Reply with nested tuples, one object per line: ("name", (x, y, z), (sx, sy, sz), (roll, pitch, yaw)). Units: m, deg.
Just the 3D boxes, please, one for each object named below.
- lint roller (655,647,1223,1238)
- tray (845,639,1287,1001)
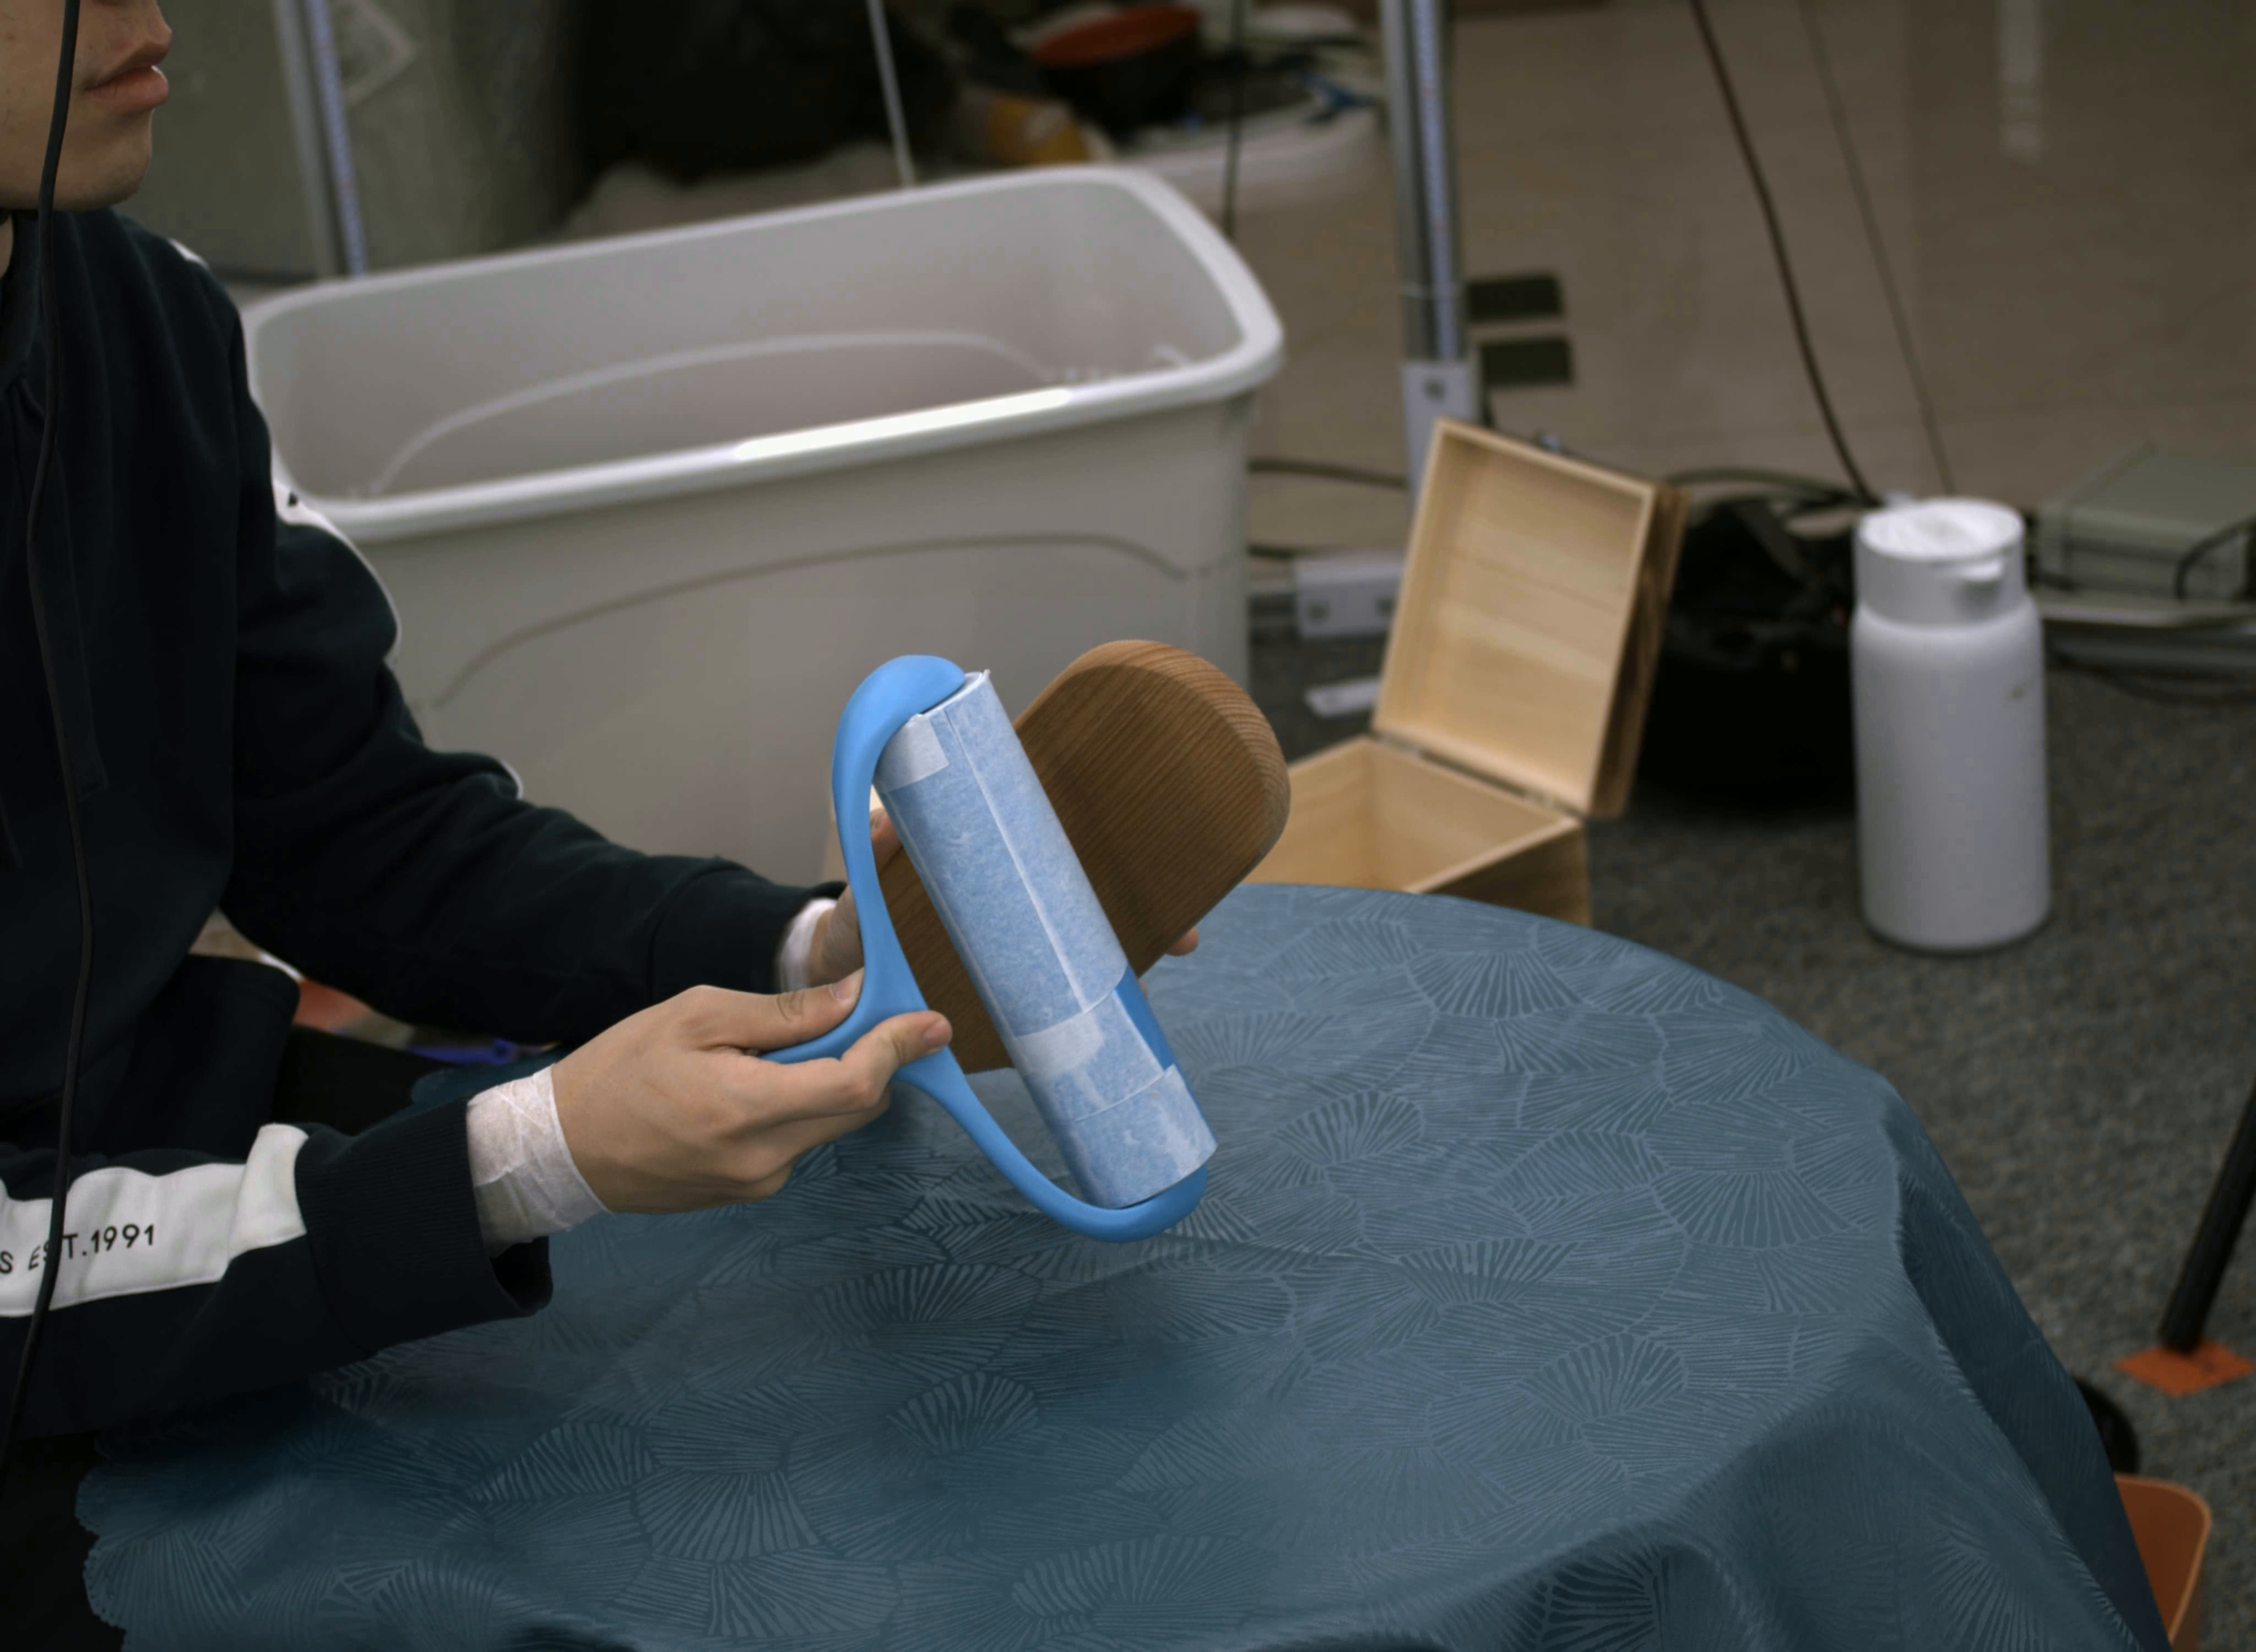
("lint roller", (-0.084, 0.070, 2.012), (0.180, 0.231, 0.067), (-29, 14, -1))
("tray", (-0.026, 0.014, 2.092), (0.234, 0.102, 0.020), (-43, 2, 41))
